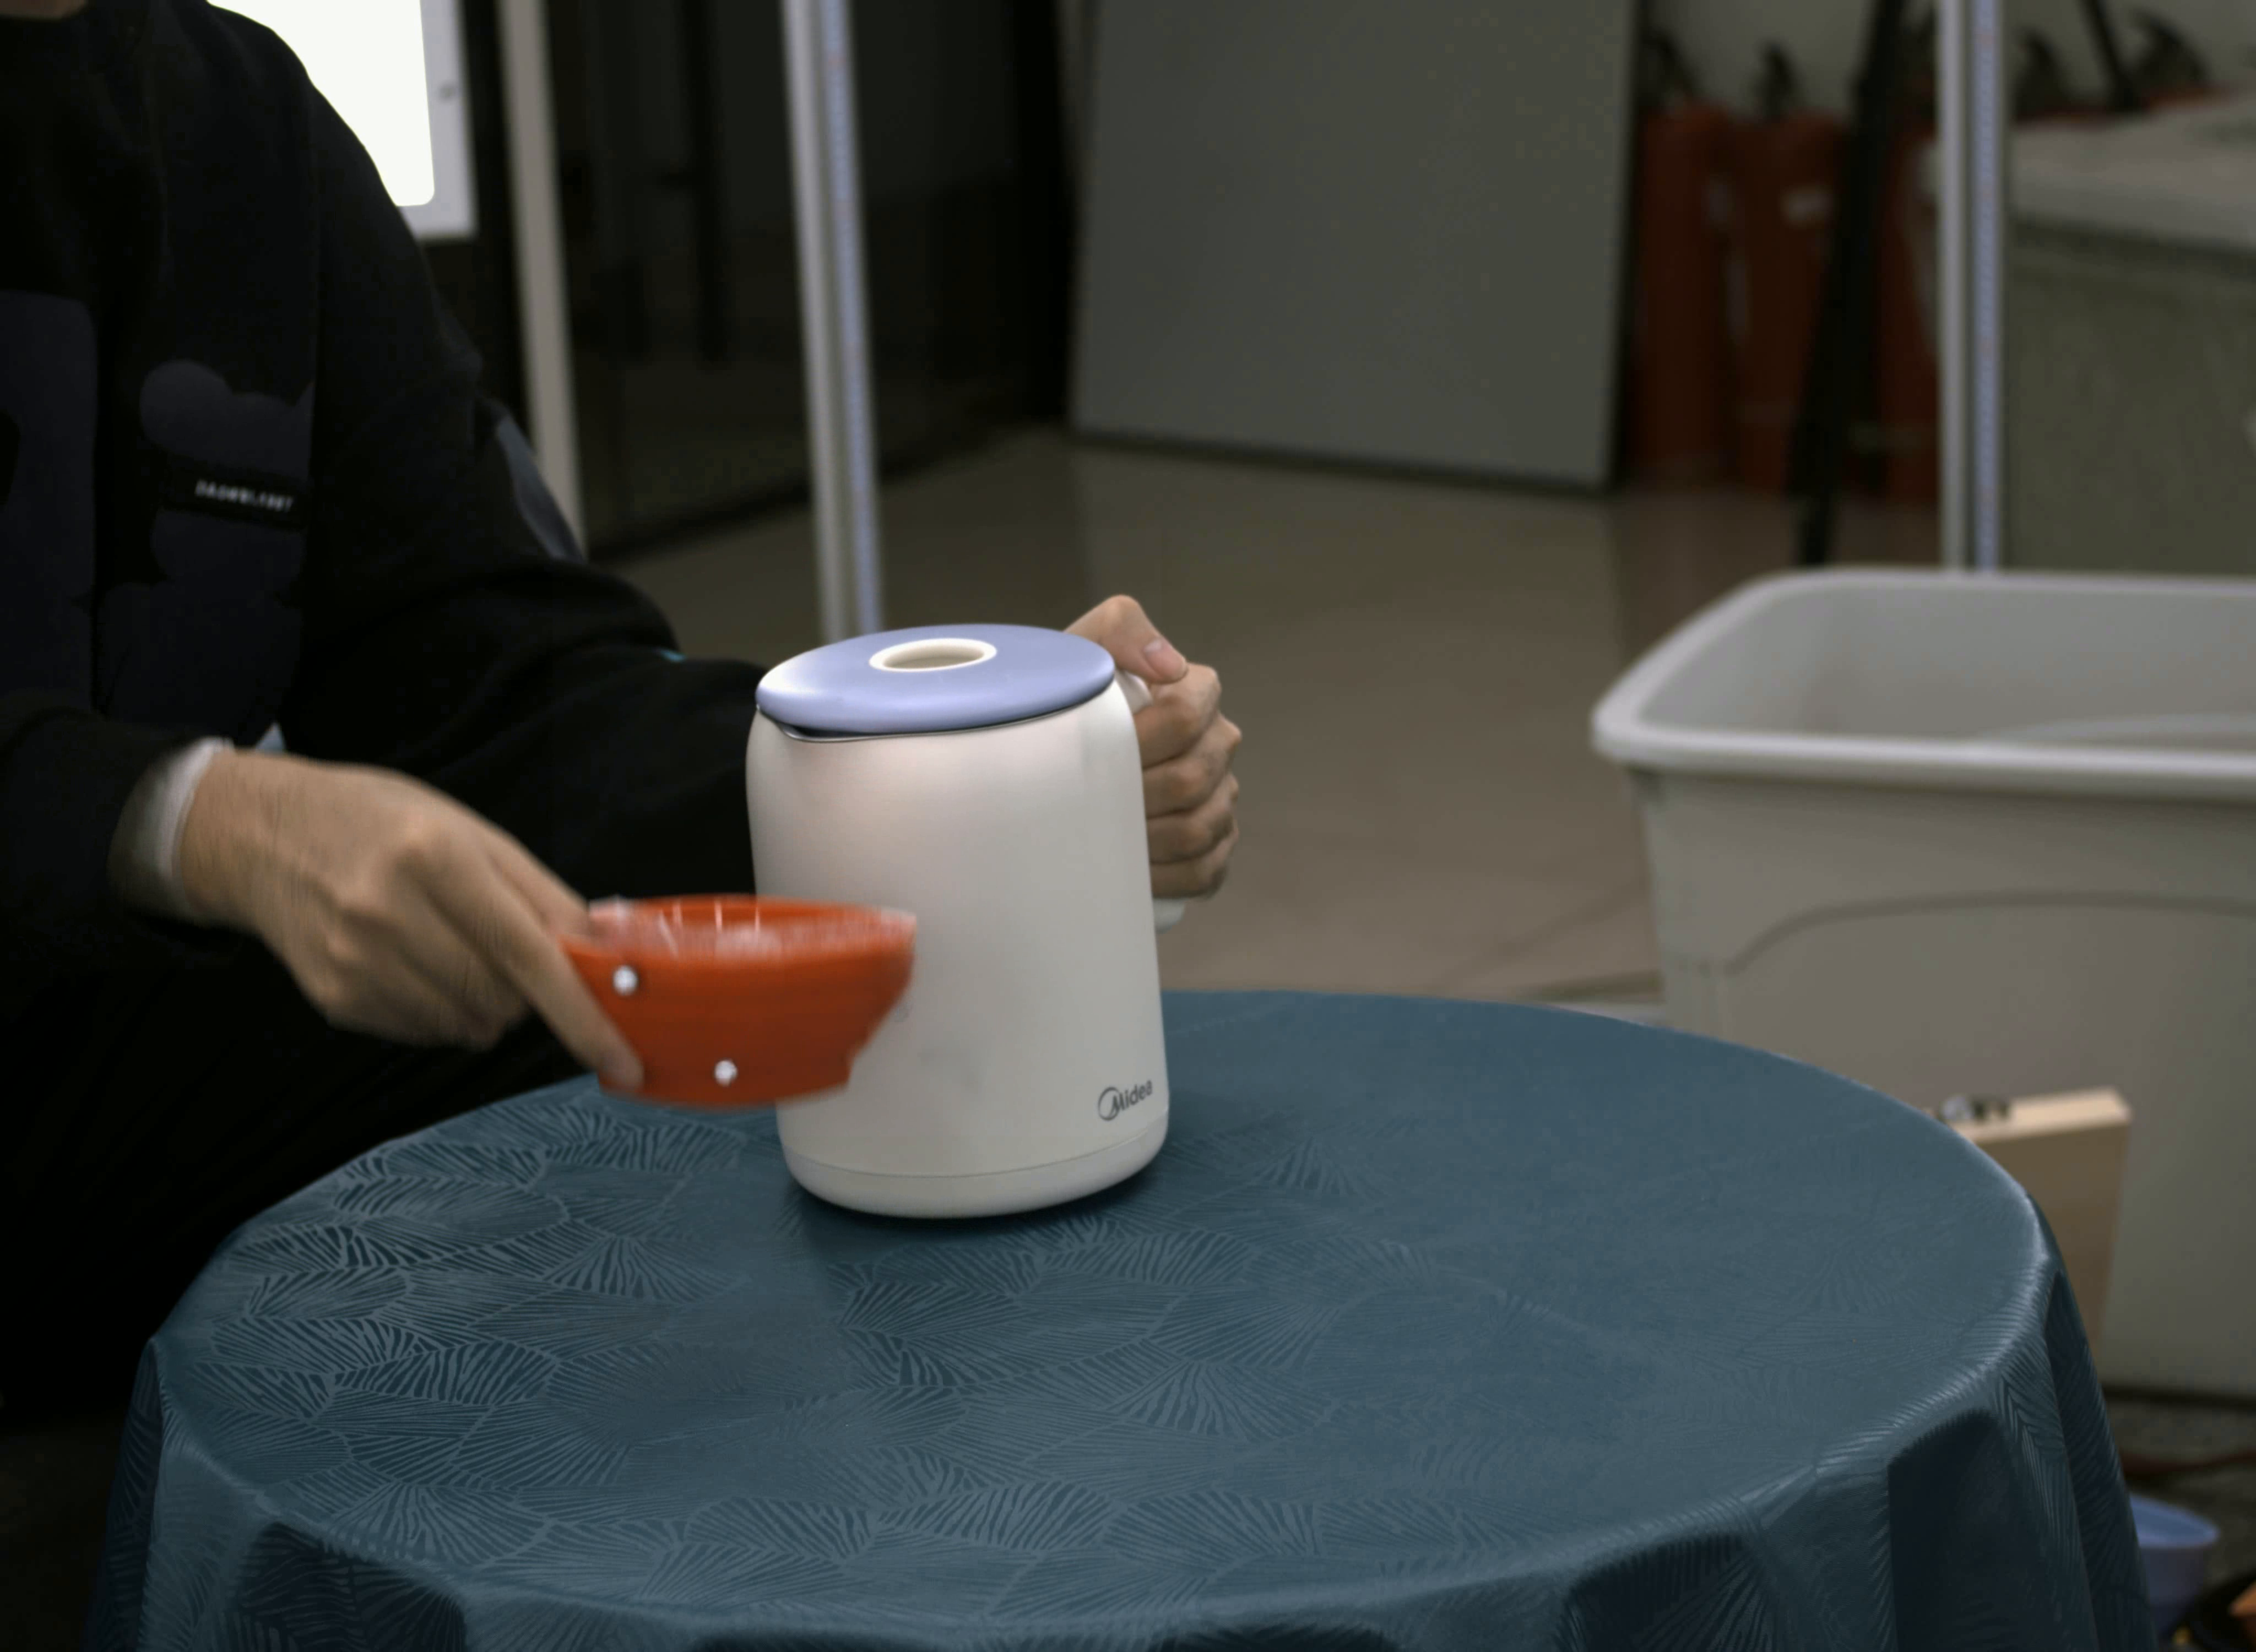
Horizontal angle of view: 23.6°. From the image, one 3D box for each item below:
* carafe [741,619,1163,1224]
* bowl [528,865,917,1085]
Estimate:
[{"bbox_3d":[-0.045,0.025,1.796,0.133,0.184,0.188,7,16,34],"label":"carafe"},{"bbox_3d":[-0.123,0.046,1.637,0.117,0.052,0.119,0,9,-1],"label":"bowl"}]
